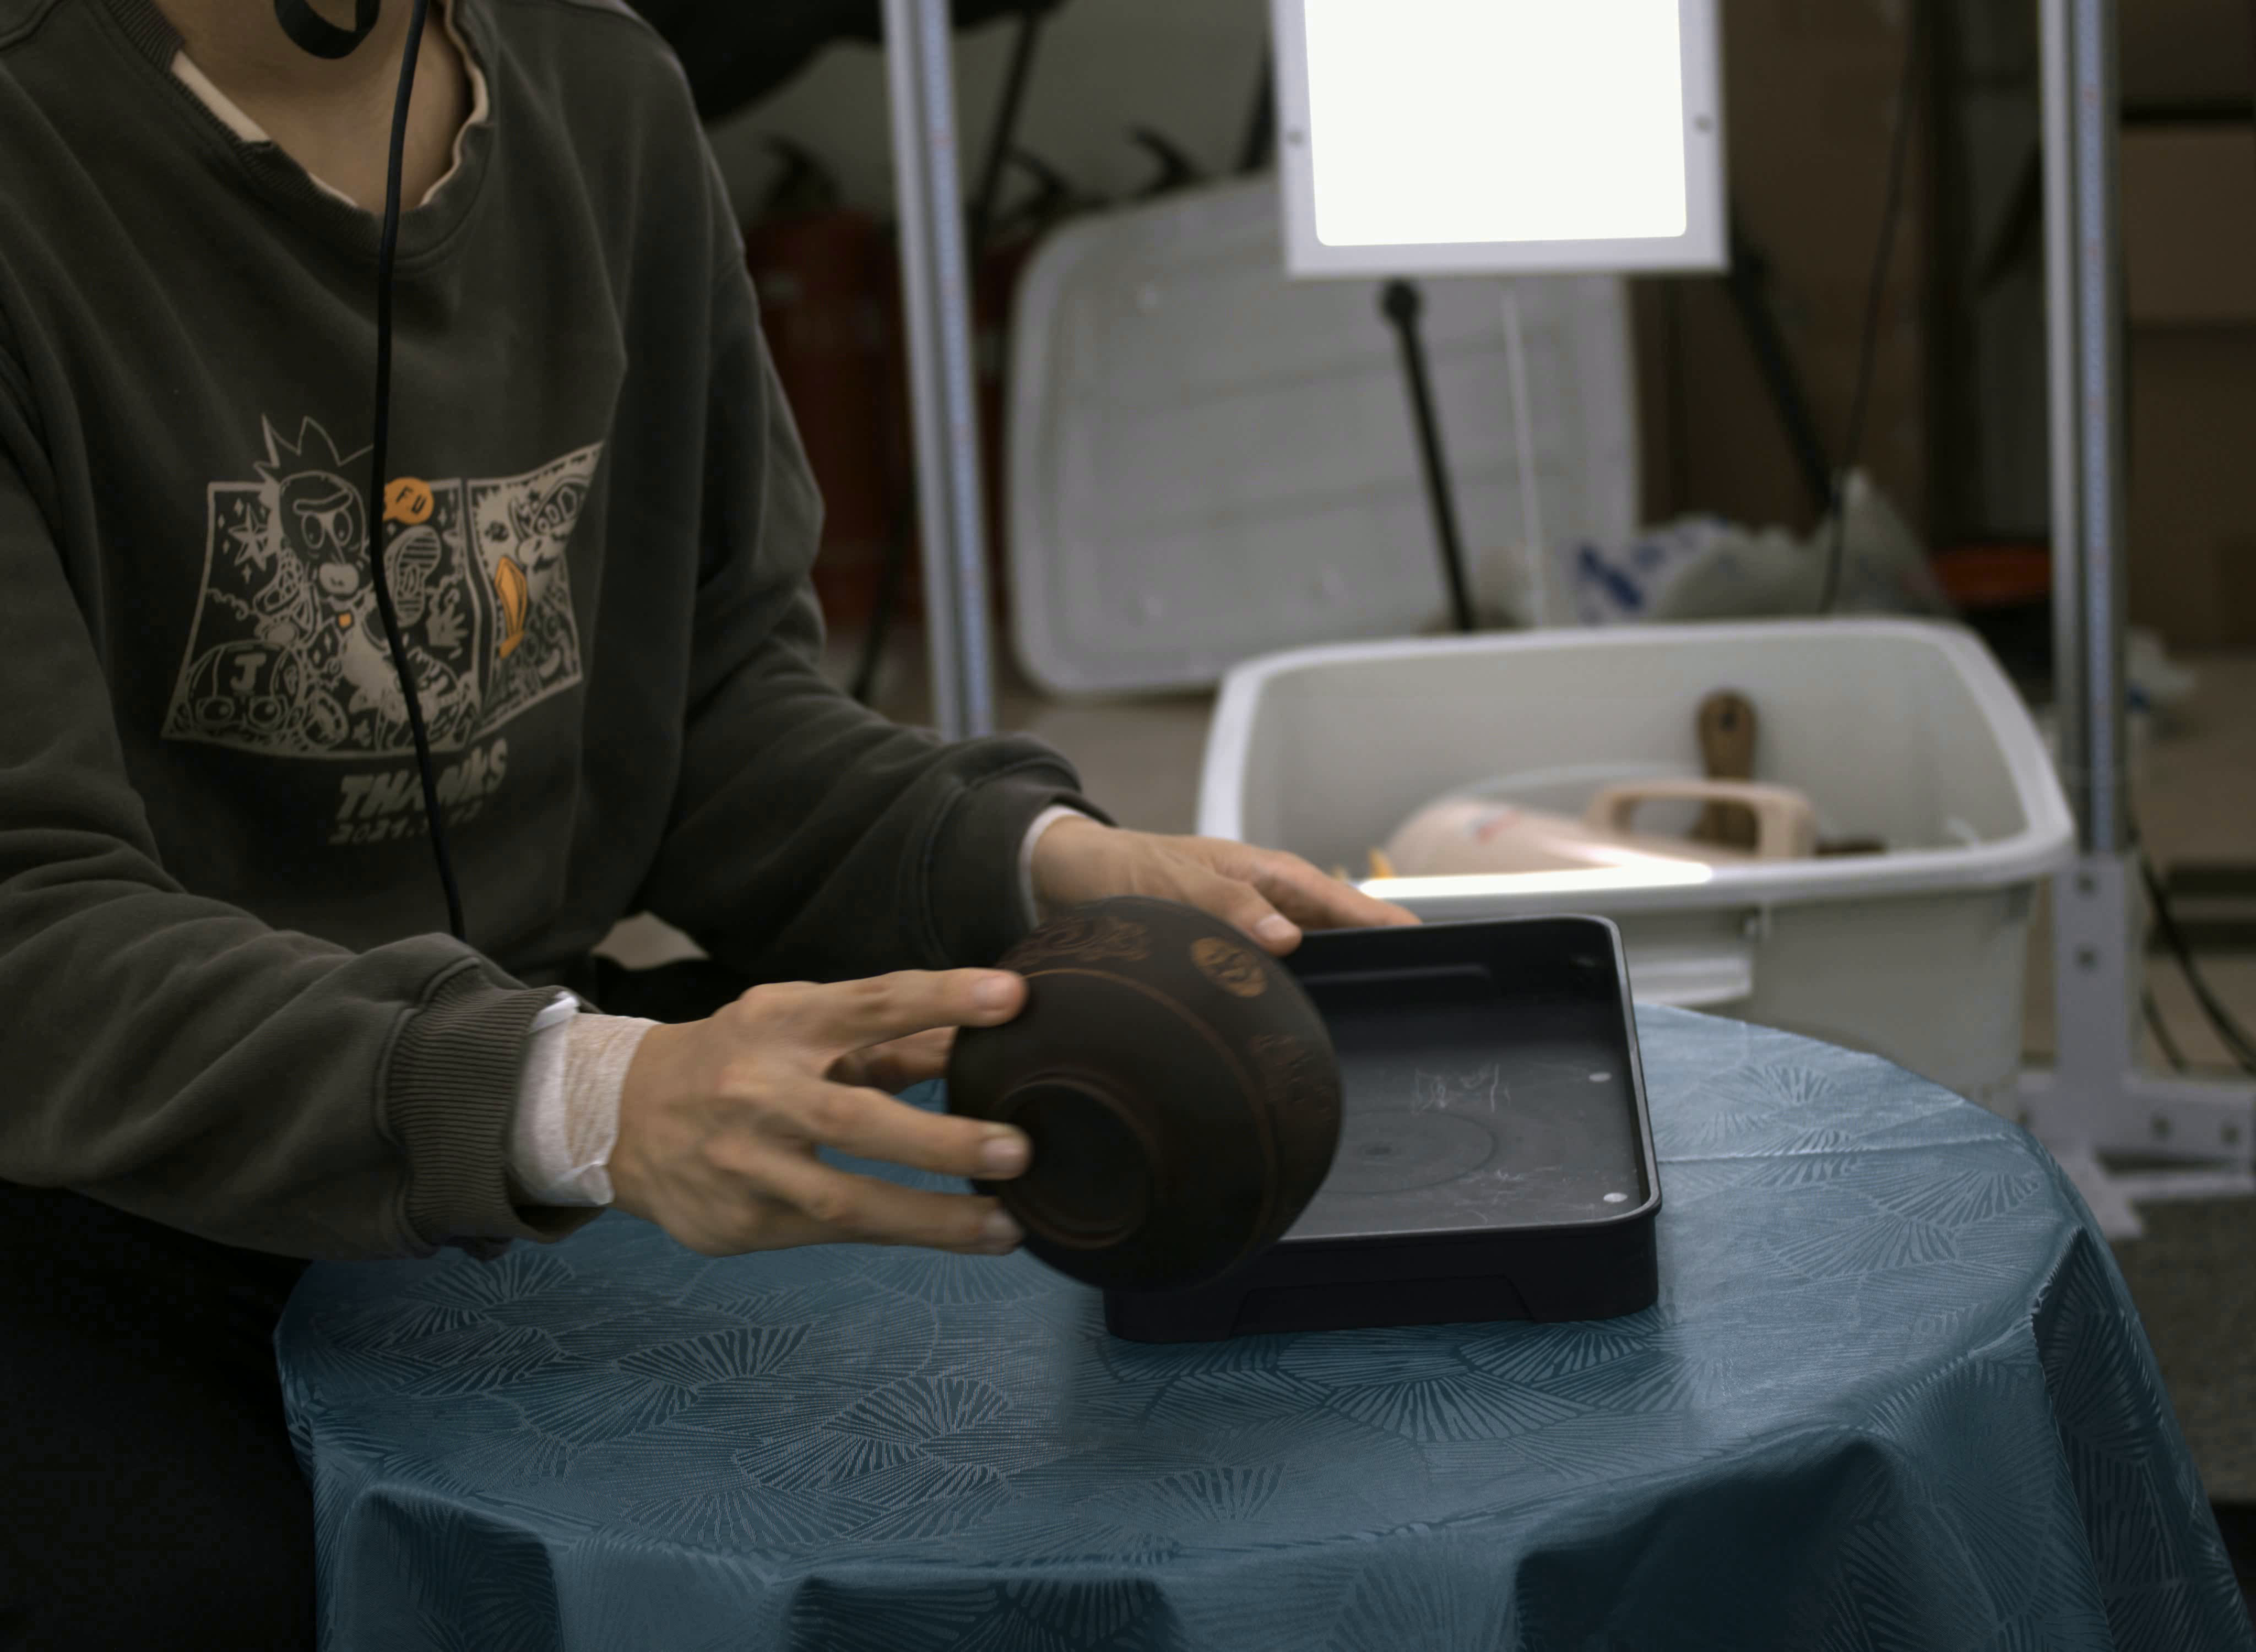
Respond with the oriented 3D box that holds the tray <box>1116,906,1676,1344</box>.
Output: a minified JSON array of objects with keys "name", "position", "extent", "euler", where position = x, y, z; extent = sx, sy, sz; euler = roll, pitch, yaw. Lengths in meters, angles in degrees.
[{"name":"tray","position":[0.086,0.097,1.882],"extent":[0.184,0.037,0.316],"euler":[-5,17,3]}]

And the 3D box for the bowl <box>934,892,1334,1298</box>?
[{"name":"bowl","position":[-0.005,0.085,1.611],"extent":[0.120,0.118,0.068],"euler":[3,25,27]}]
